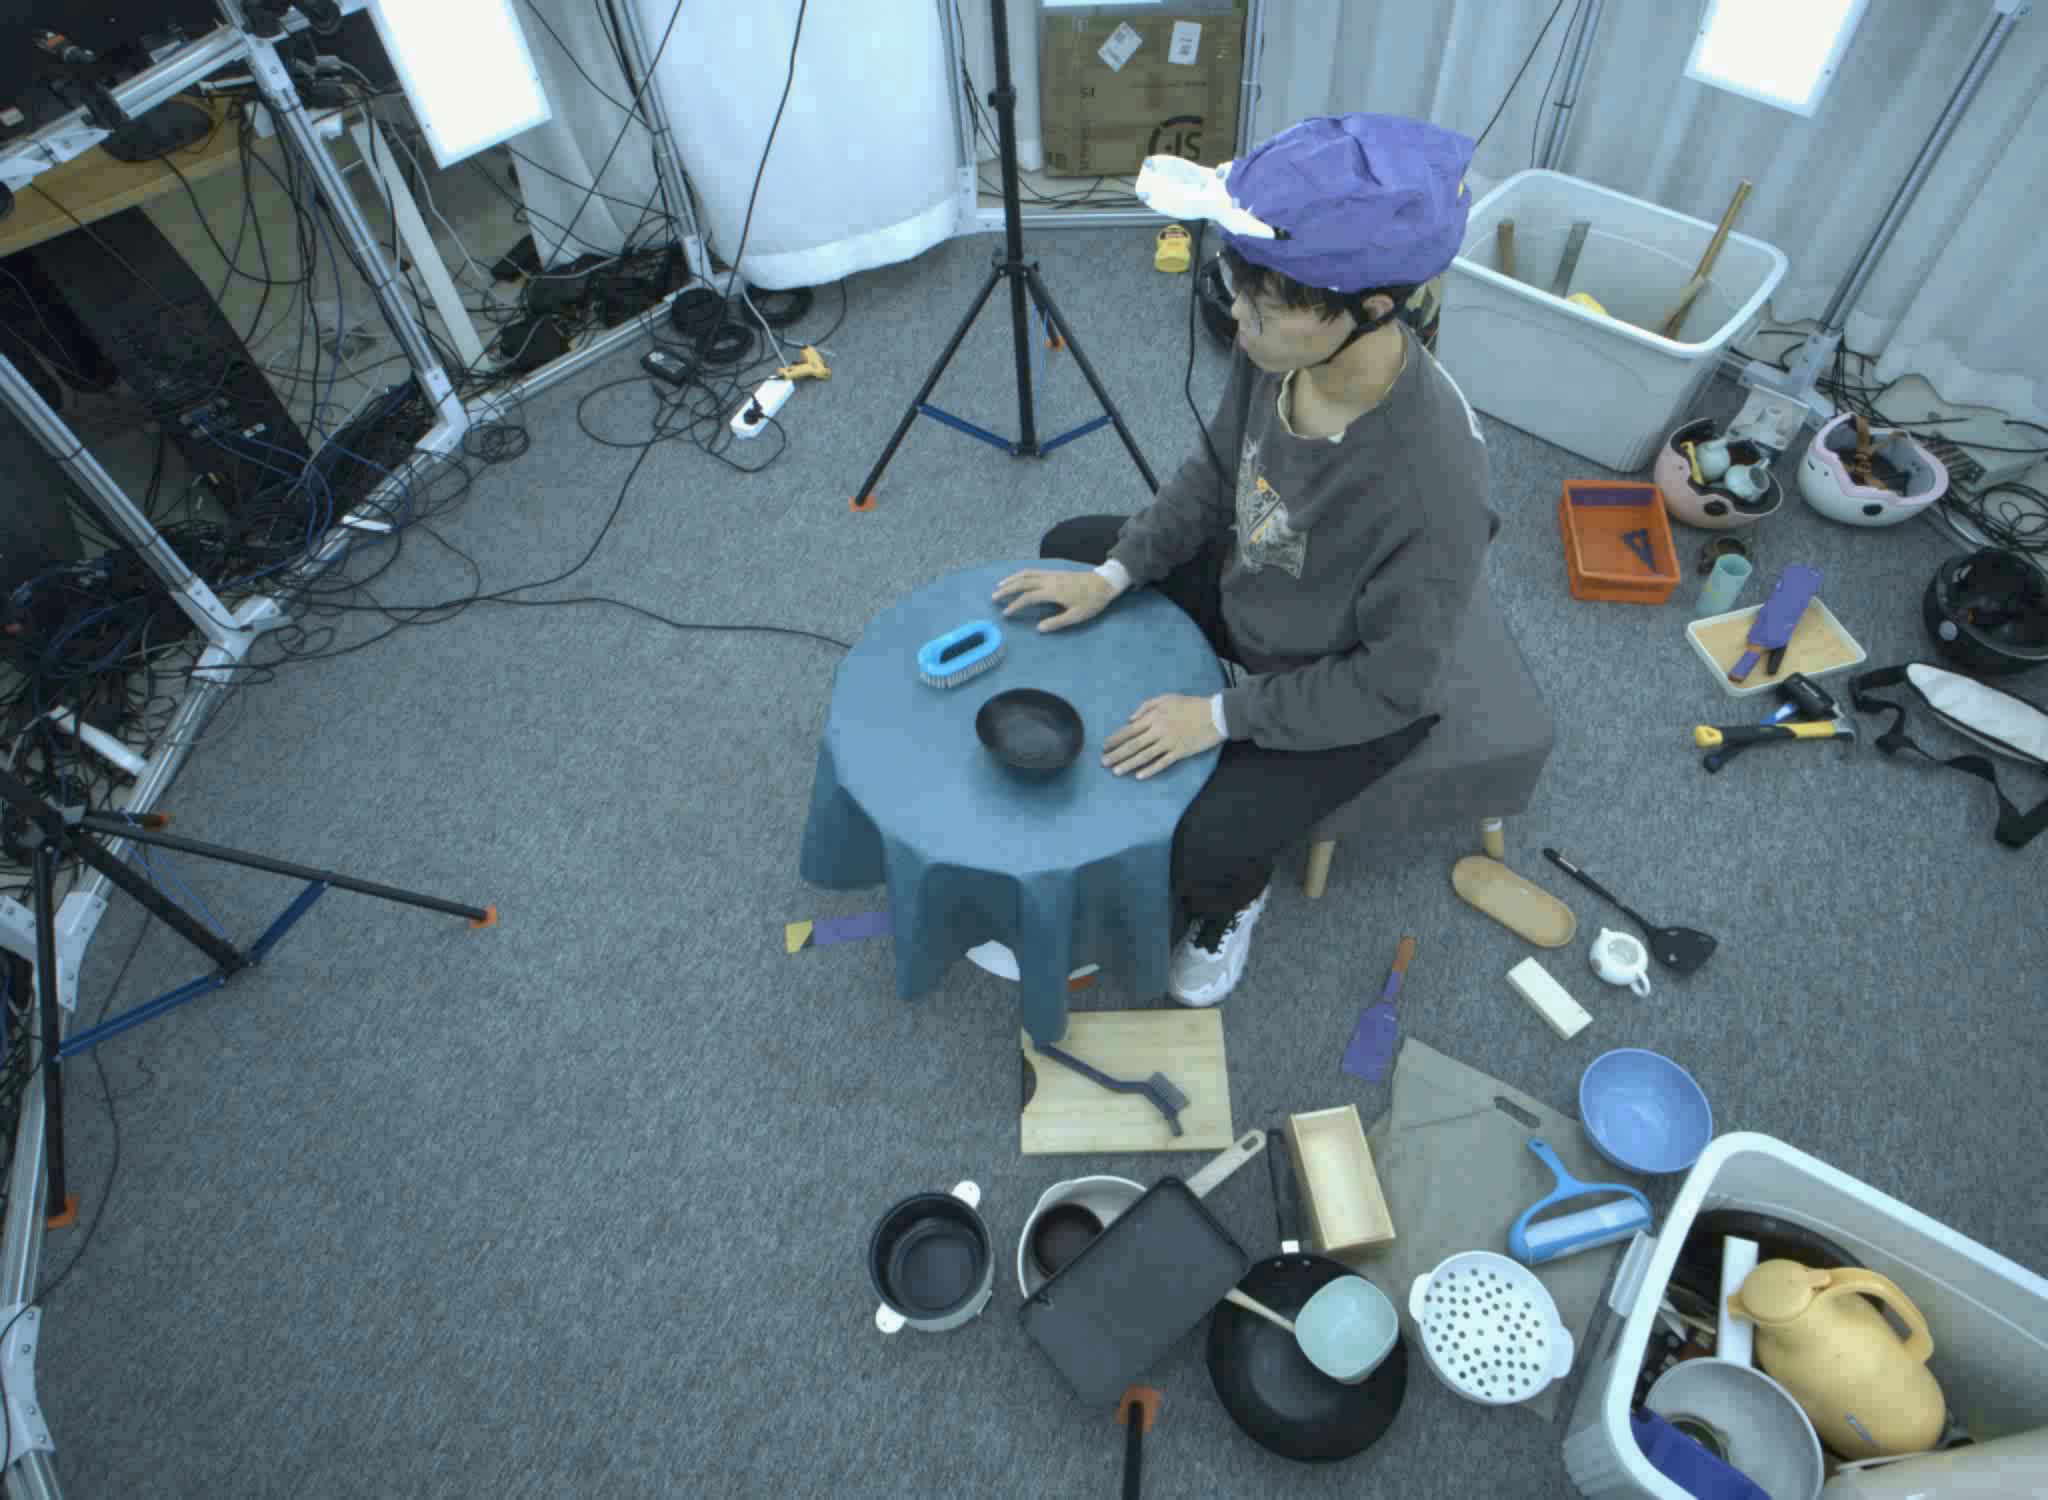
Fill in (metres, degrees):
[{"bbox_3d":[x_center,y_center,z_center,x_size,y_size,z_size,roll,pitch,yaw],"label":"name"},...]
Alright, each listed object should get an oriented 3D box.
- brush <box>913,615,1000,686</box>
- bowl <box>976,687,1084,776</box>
[{"bbox_3d":[-0.101,-0.159,1.862,0.143,0.064,0.083,-28,62,-15],"label":"brush"},{"bbox_3d":[0.008,-0.016,1.757,0.167,0.067,0.138,31,60,24],"label":"bowl"}]
